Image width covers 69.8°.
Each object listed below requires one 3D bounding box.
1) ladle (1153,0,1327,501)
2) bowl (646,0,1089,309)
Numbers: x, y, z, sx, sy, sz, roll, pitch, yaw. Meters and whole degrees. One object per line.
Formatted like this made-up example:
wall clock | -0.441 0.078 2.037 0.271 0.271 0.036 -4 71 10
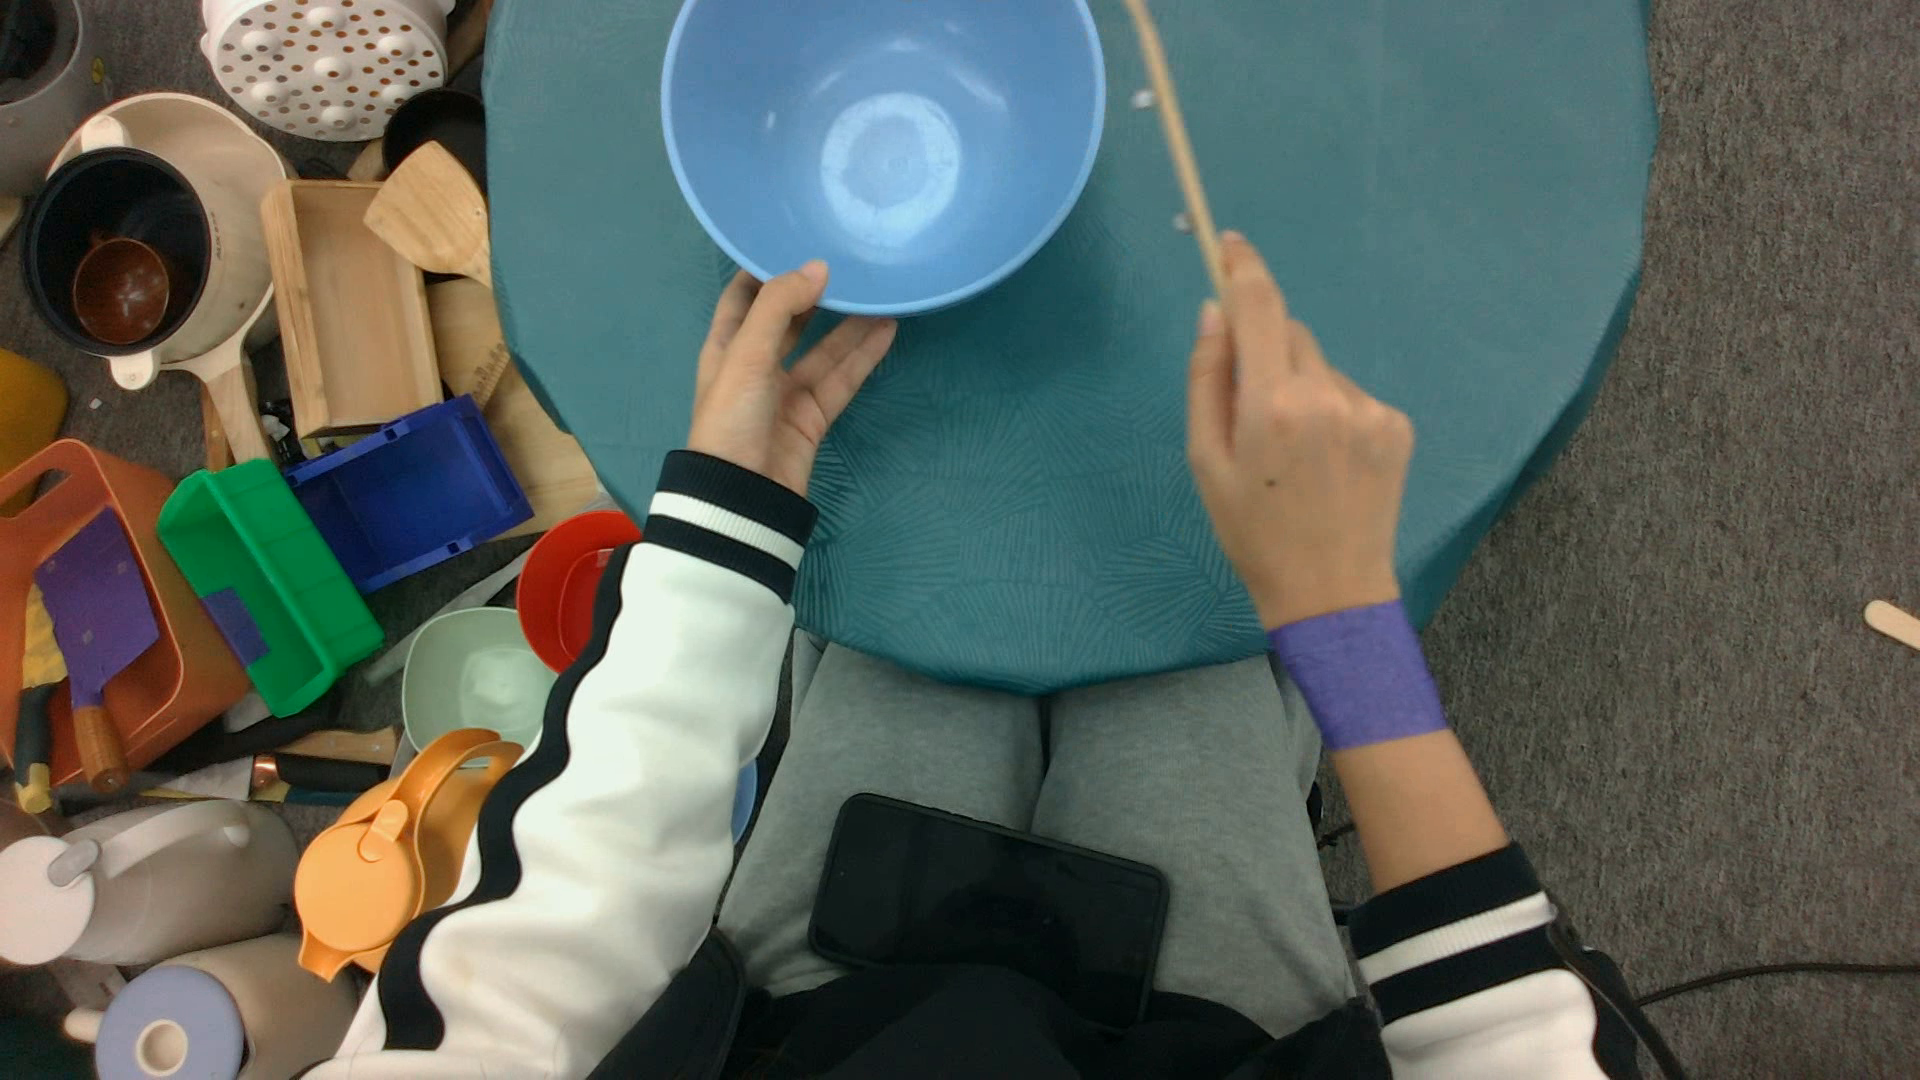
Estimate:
ladle | 0.069 -0.122 0.527 0.072 0.072 0.254 -16 104 21
bowl | -0.041 -0.195 0.655 0.196 0.095 0.196 0 84 0
